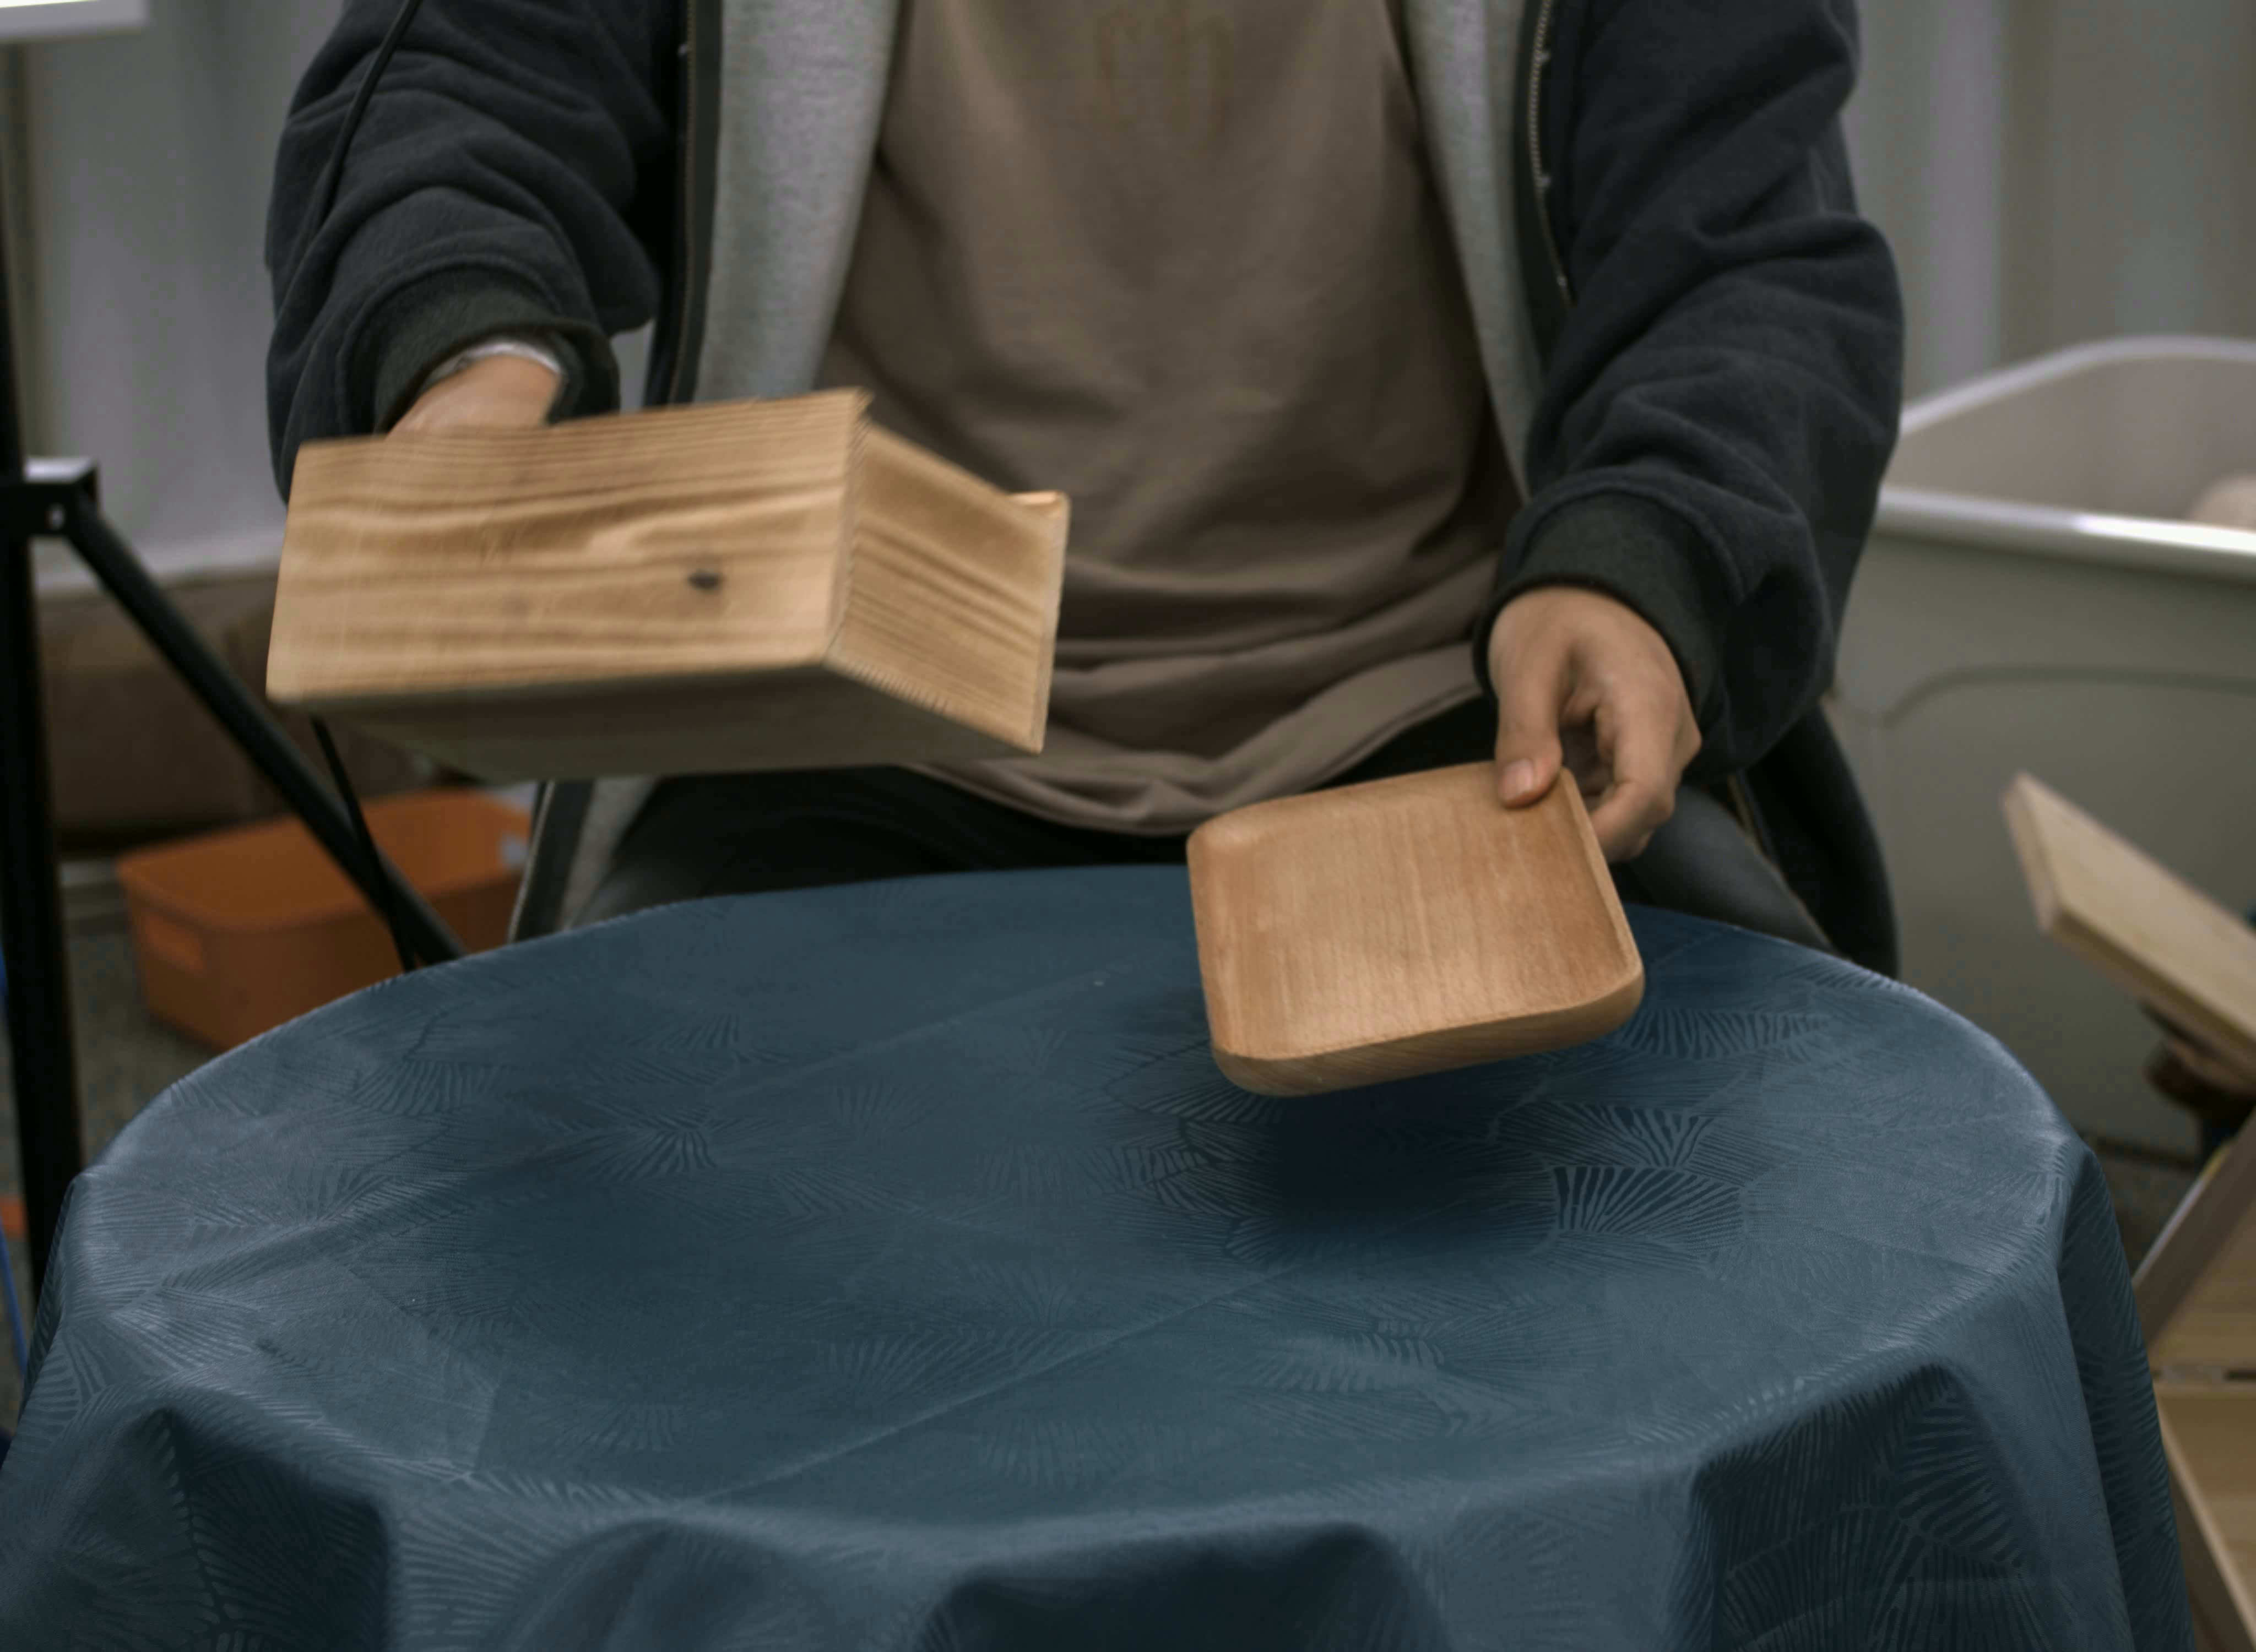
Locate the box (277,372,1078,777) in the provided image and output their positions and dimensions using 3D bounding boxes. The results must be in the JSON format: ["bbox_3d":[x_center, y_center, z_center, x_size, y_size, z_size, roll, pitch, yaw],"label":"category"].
[{"bbox_3d":[-0.134,-0.070,1.572,0.215,0.081,0.105,-2,-17,35],"label":"box"}]

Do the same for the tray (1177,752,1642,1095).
[{"bbox_3d":[0.082,0.027,1.618,0.130,0.023,0.252,-8,17,2],"label":"tray"}]
